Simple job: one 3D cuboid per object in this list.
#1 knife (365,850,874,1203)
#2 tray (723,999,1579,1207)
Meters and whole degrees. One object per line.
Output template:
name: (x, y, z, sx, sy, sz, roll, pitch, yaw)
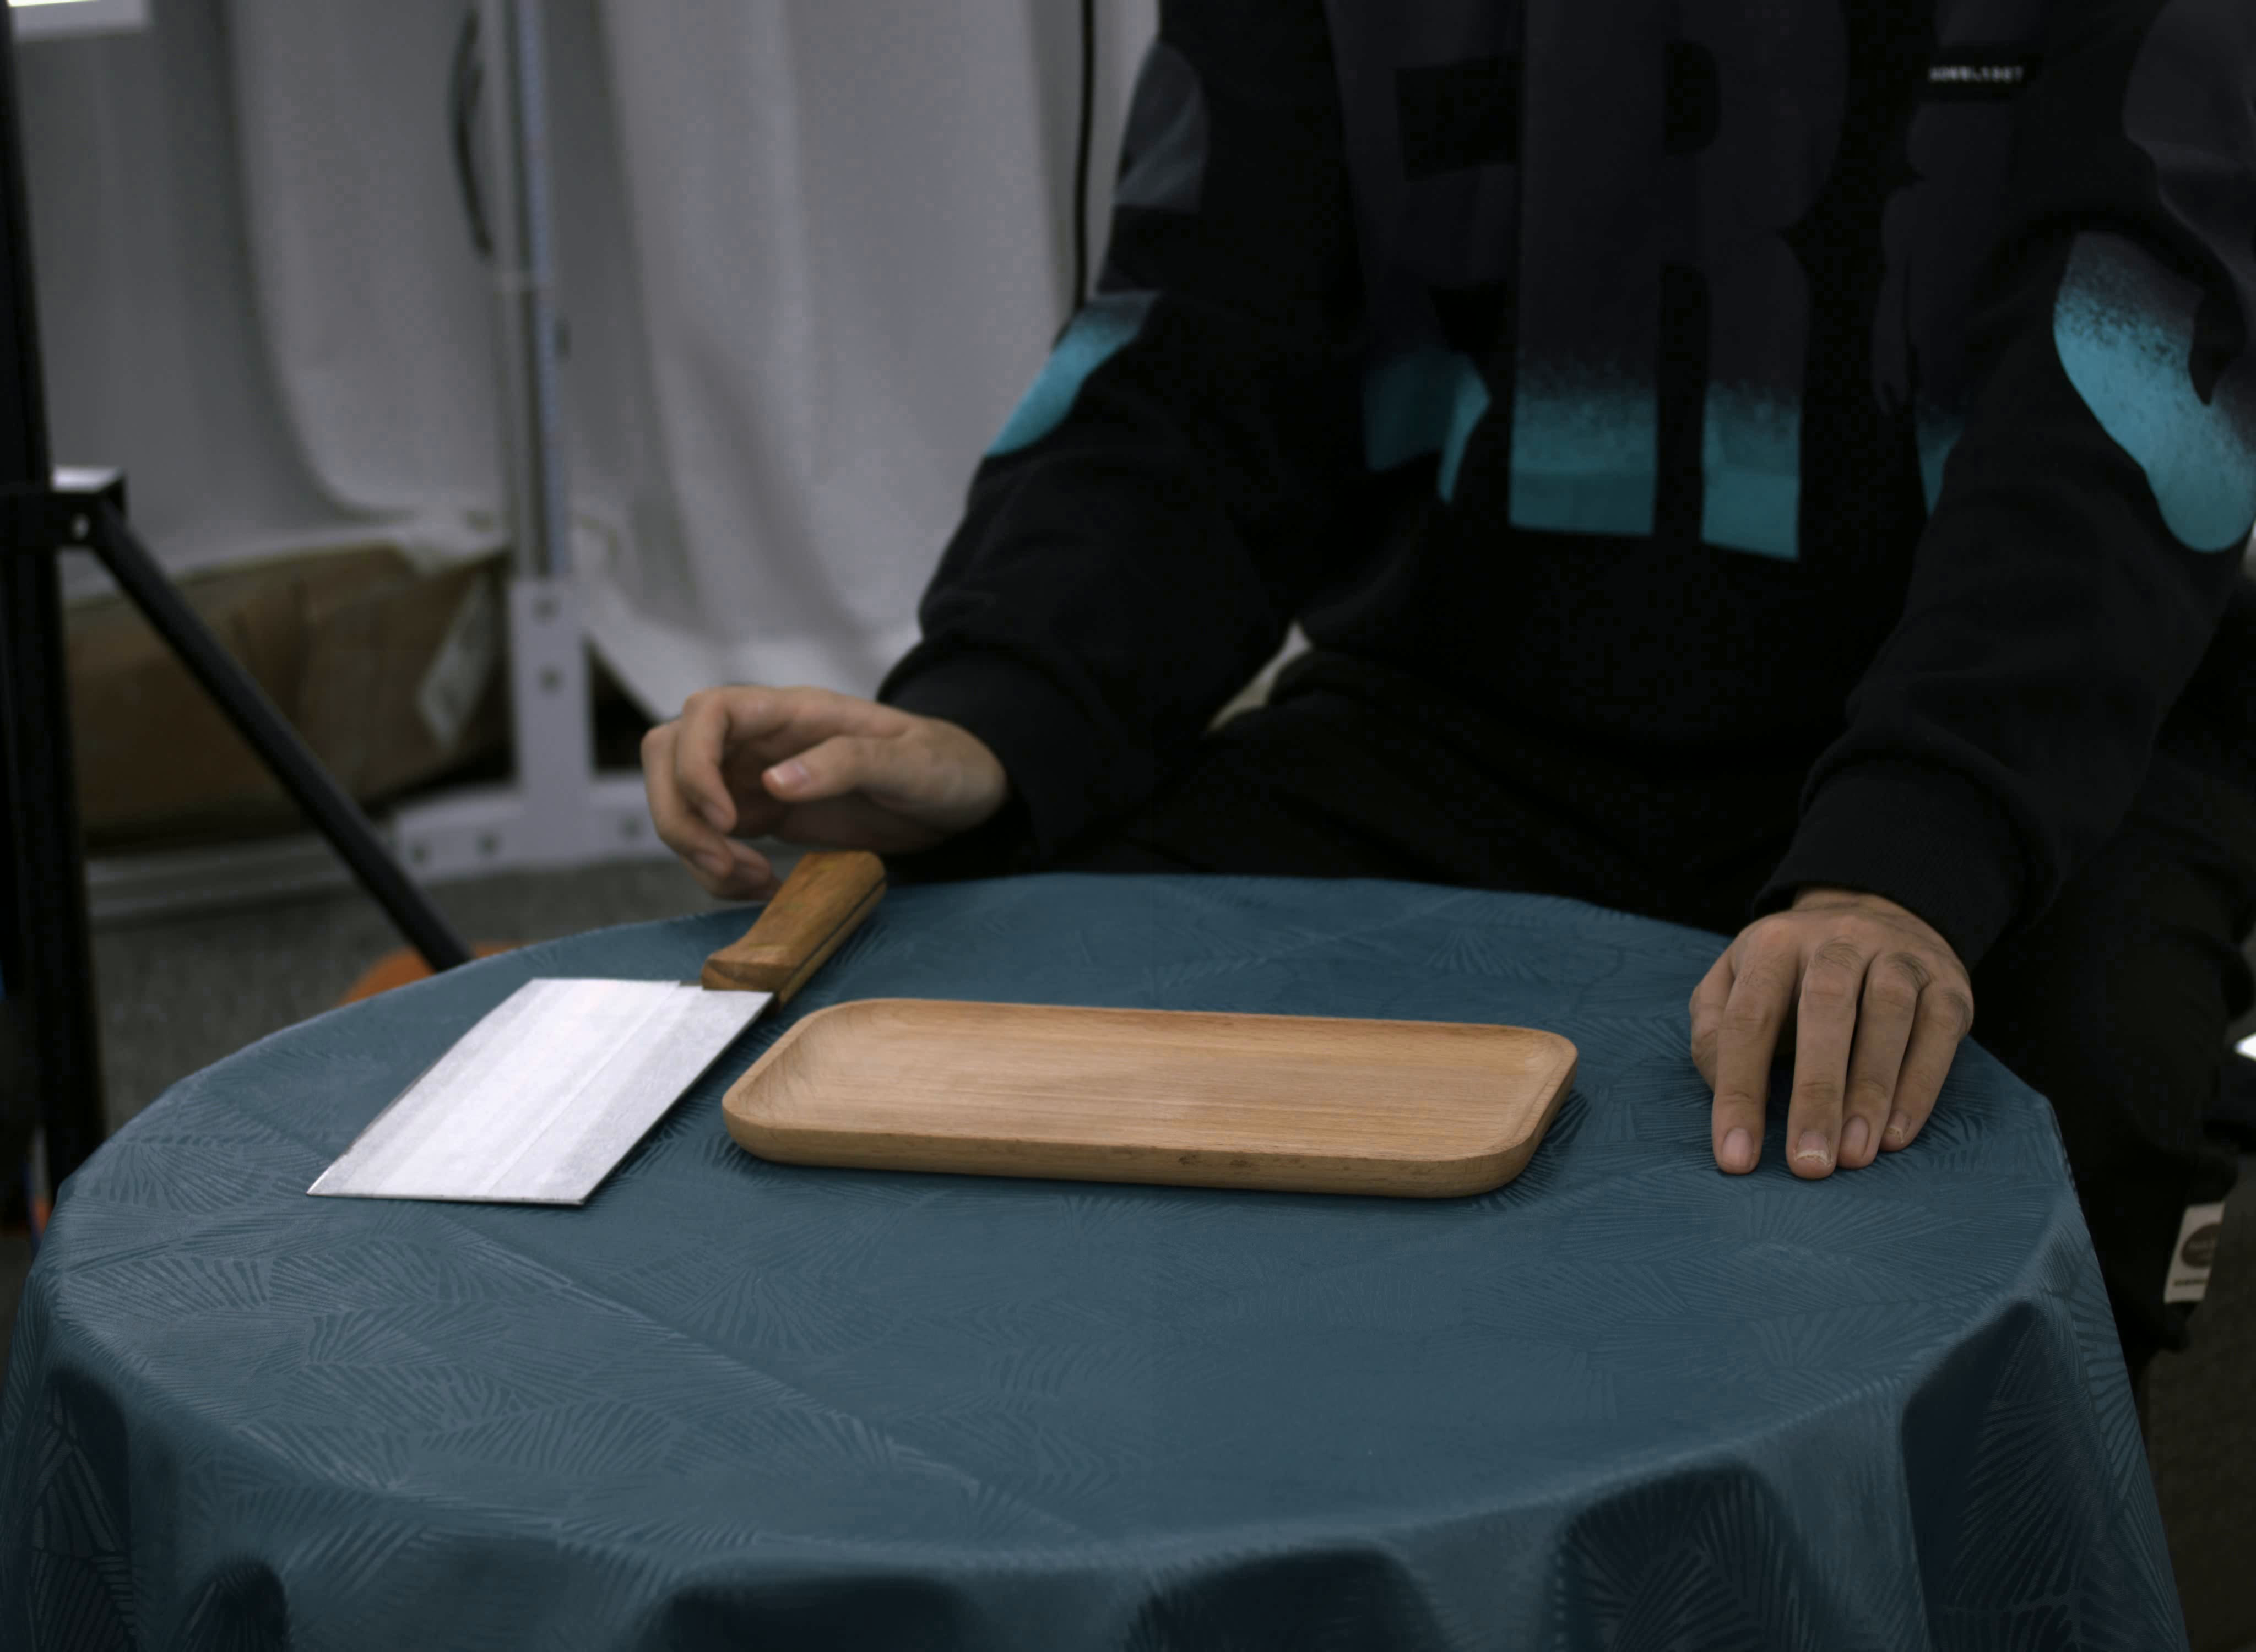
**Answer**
knife: (-0.162, 0.063, 1.717, 0.094, 0.021, 0.303, 0, 18, 16)
tray: (0.008, 0.083, 1.616, 0.253, 0.023, 0.129, 4, 19, 18)
